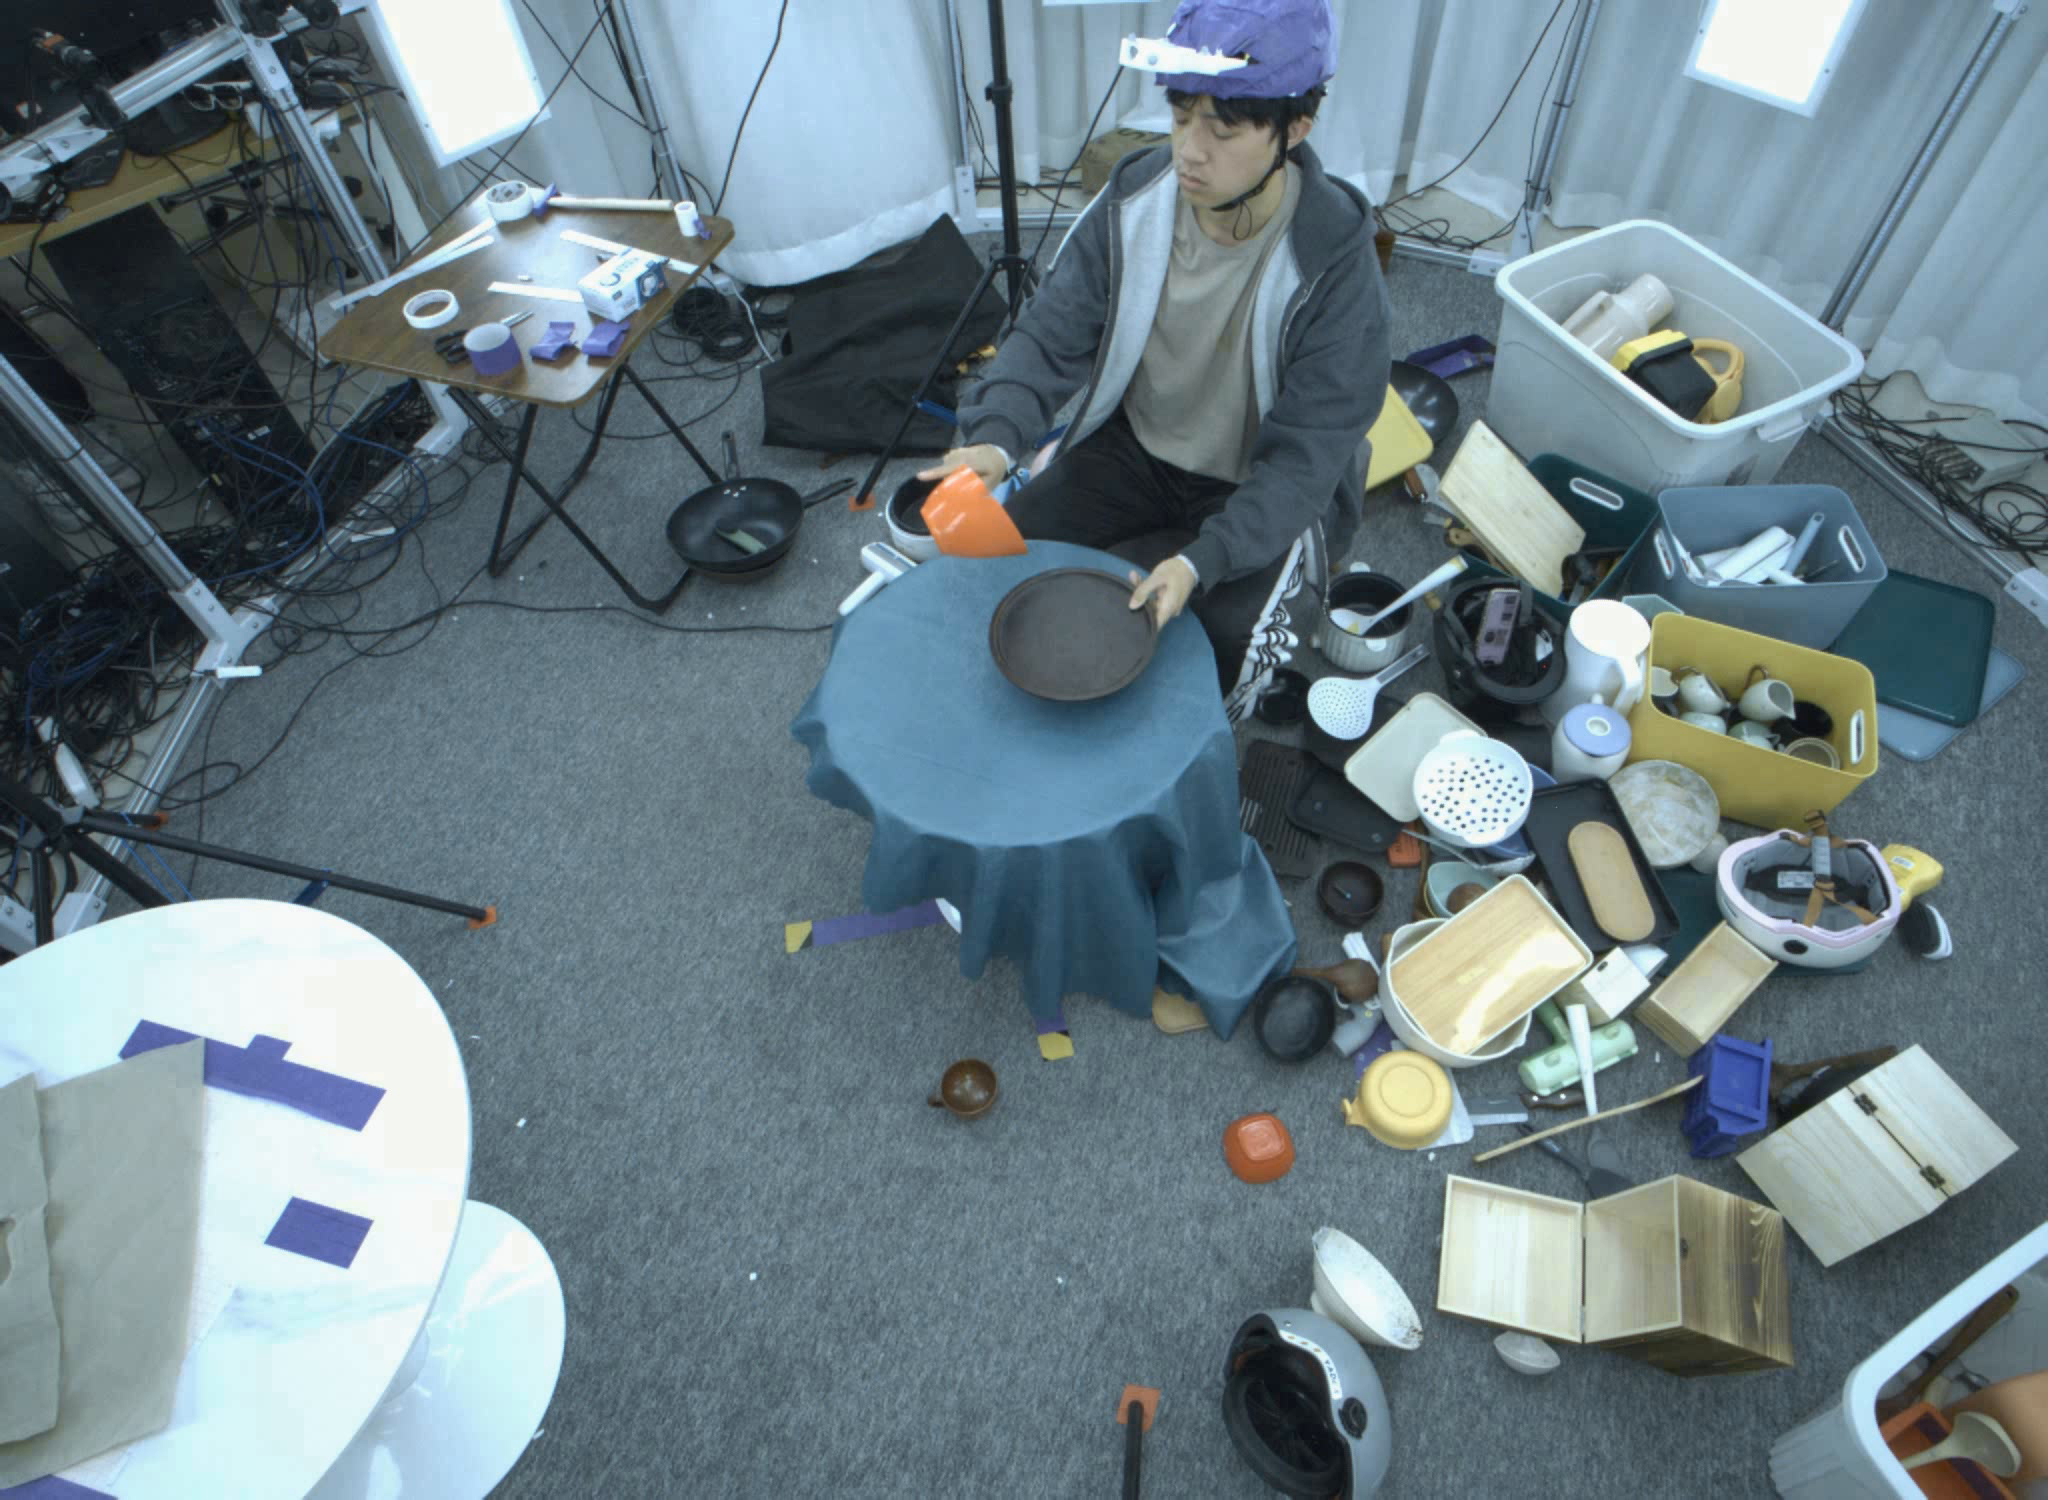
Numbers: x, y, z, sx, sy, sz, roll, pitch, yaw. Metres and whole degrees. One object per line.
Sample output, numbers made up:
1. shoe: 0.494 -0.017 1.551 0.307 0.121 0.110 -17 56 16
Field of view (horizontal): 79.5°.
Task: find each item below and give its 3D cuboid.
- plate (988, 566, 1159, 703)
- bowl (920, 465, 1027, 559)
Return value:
1. plate: 0.072 -0.172 1.825 0.254 0.029 0.252 -1 57 3
2. bowl: -0.077 -0.306 1.653 0.104 0.150 0.145 -27 57 0
